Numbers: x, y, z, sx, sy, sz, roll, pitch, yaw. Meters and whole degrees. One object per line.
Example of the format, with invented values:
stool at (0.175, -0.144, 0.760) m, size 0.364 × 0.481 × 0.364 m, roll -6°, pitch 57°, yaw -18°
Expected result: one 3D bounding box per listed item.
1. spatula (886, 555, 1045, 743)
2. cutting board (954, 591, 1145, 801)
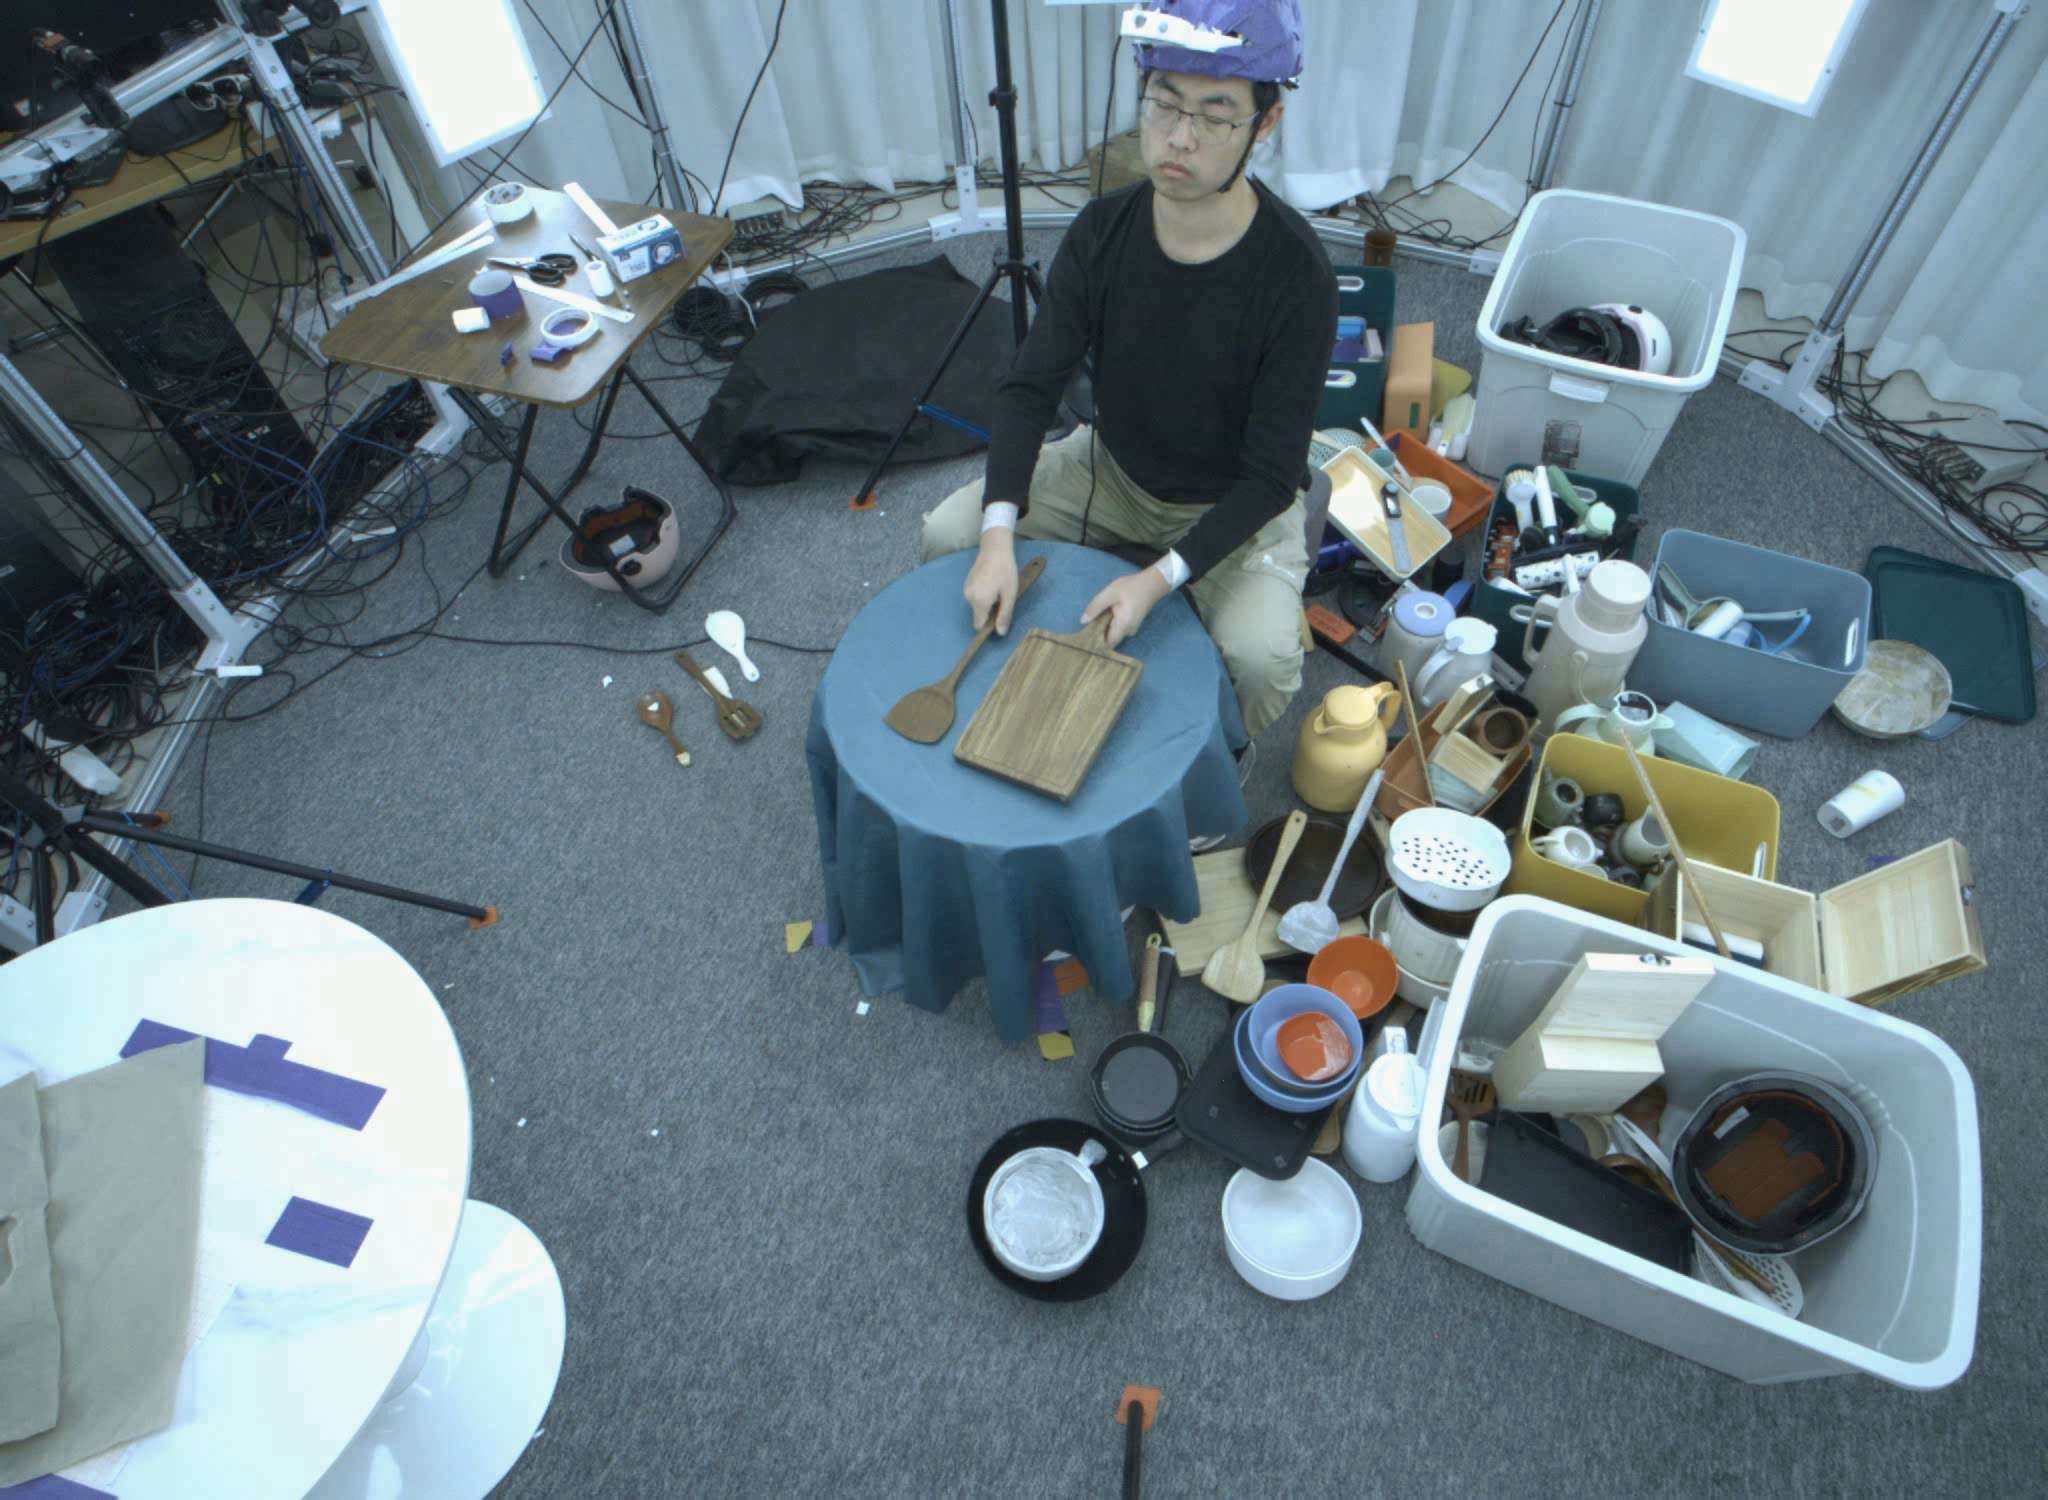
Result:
spatula at (-0.074, -0.165, 1.881) m, size 0.095 × 0.016 × 0.387 m, roll 27°, pitch 66°, yaw 17°
cutting board at (0.060, -0.097, 1.810) m, size 0.198 × 0.023 × 0.352 m, roll 20°, pitch 64°, yaw 21°
